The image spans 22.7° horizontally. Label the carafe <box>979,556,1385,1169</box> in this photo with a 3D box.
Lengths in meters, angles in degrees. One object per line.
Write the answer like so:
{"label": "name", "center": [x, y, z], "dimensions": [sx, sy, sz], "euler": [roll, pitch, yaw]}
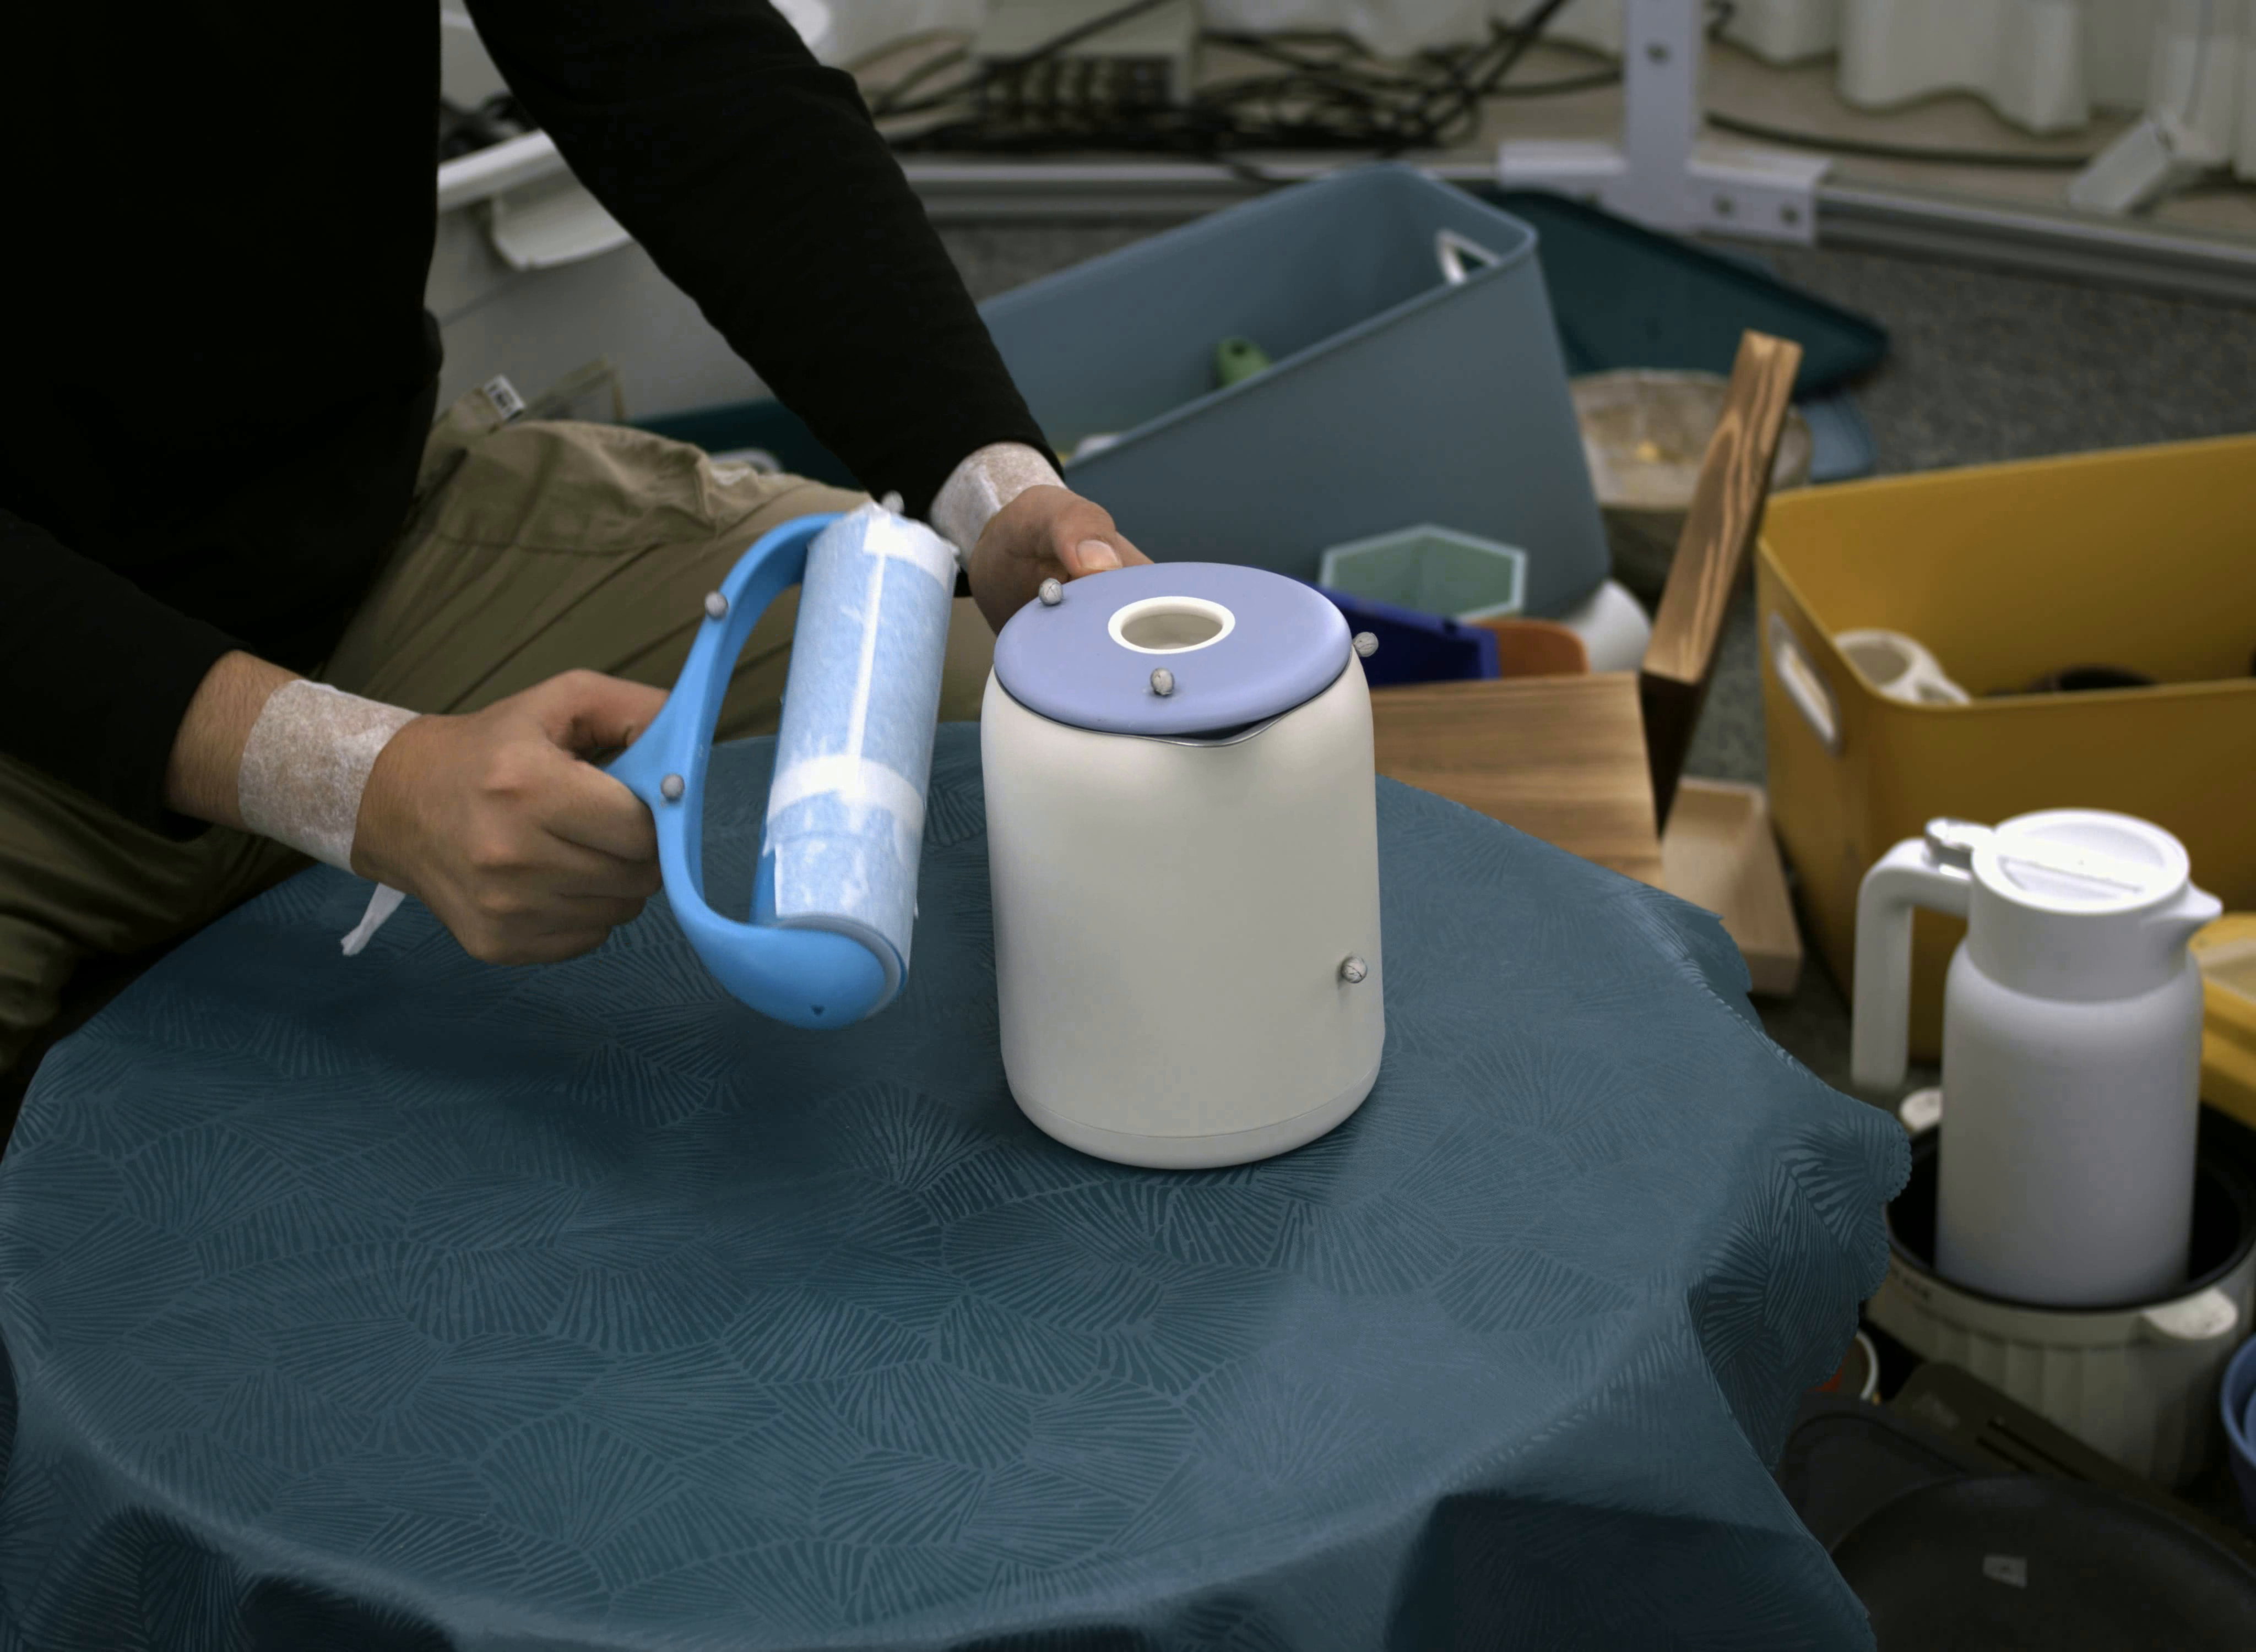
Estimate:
{"label": "carafe", "center": [0.012, 0.001, 1.907], "dimensions": [0.132, 0.181, 0.193], "euler": [-9, 26, -14]}

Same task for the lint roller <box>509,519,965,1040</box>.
{"label": "lint roller", "center": [-0.145, -0.003, 1.913], "dimensions": [0.178, 0.067, 0.233], "euler": [-16, 42, 17]}
